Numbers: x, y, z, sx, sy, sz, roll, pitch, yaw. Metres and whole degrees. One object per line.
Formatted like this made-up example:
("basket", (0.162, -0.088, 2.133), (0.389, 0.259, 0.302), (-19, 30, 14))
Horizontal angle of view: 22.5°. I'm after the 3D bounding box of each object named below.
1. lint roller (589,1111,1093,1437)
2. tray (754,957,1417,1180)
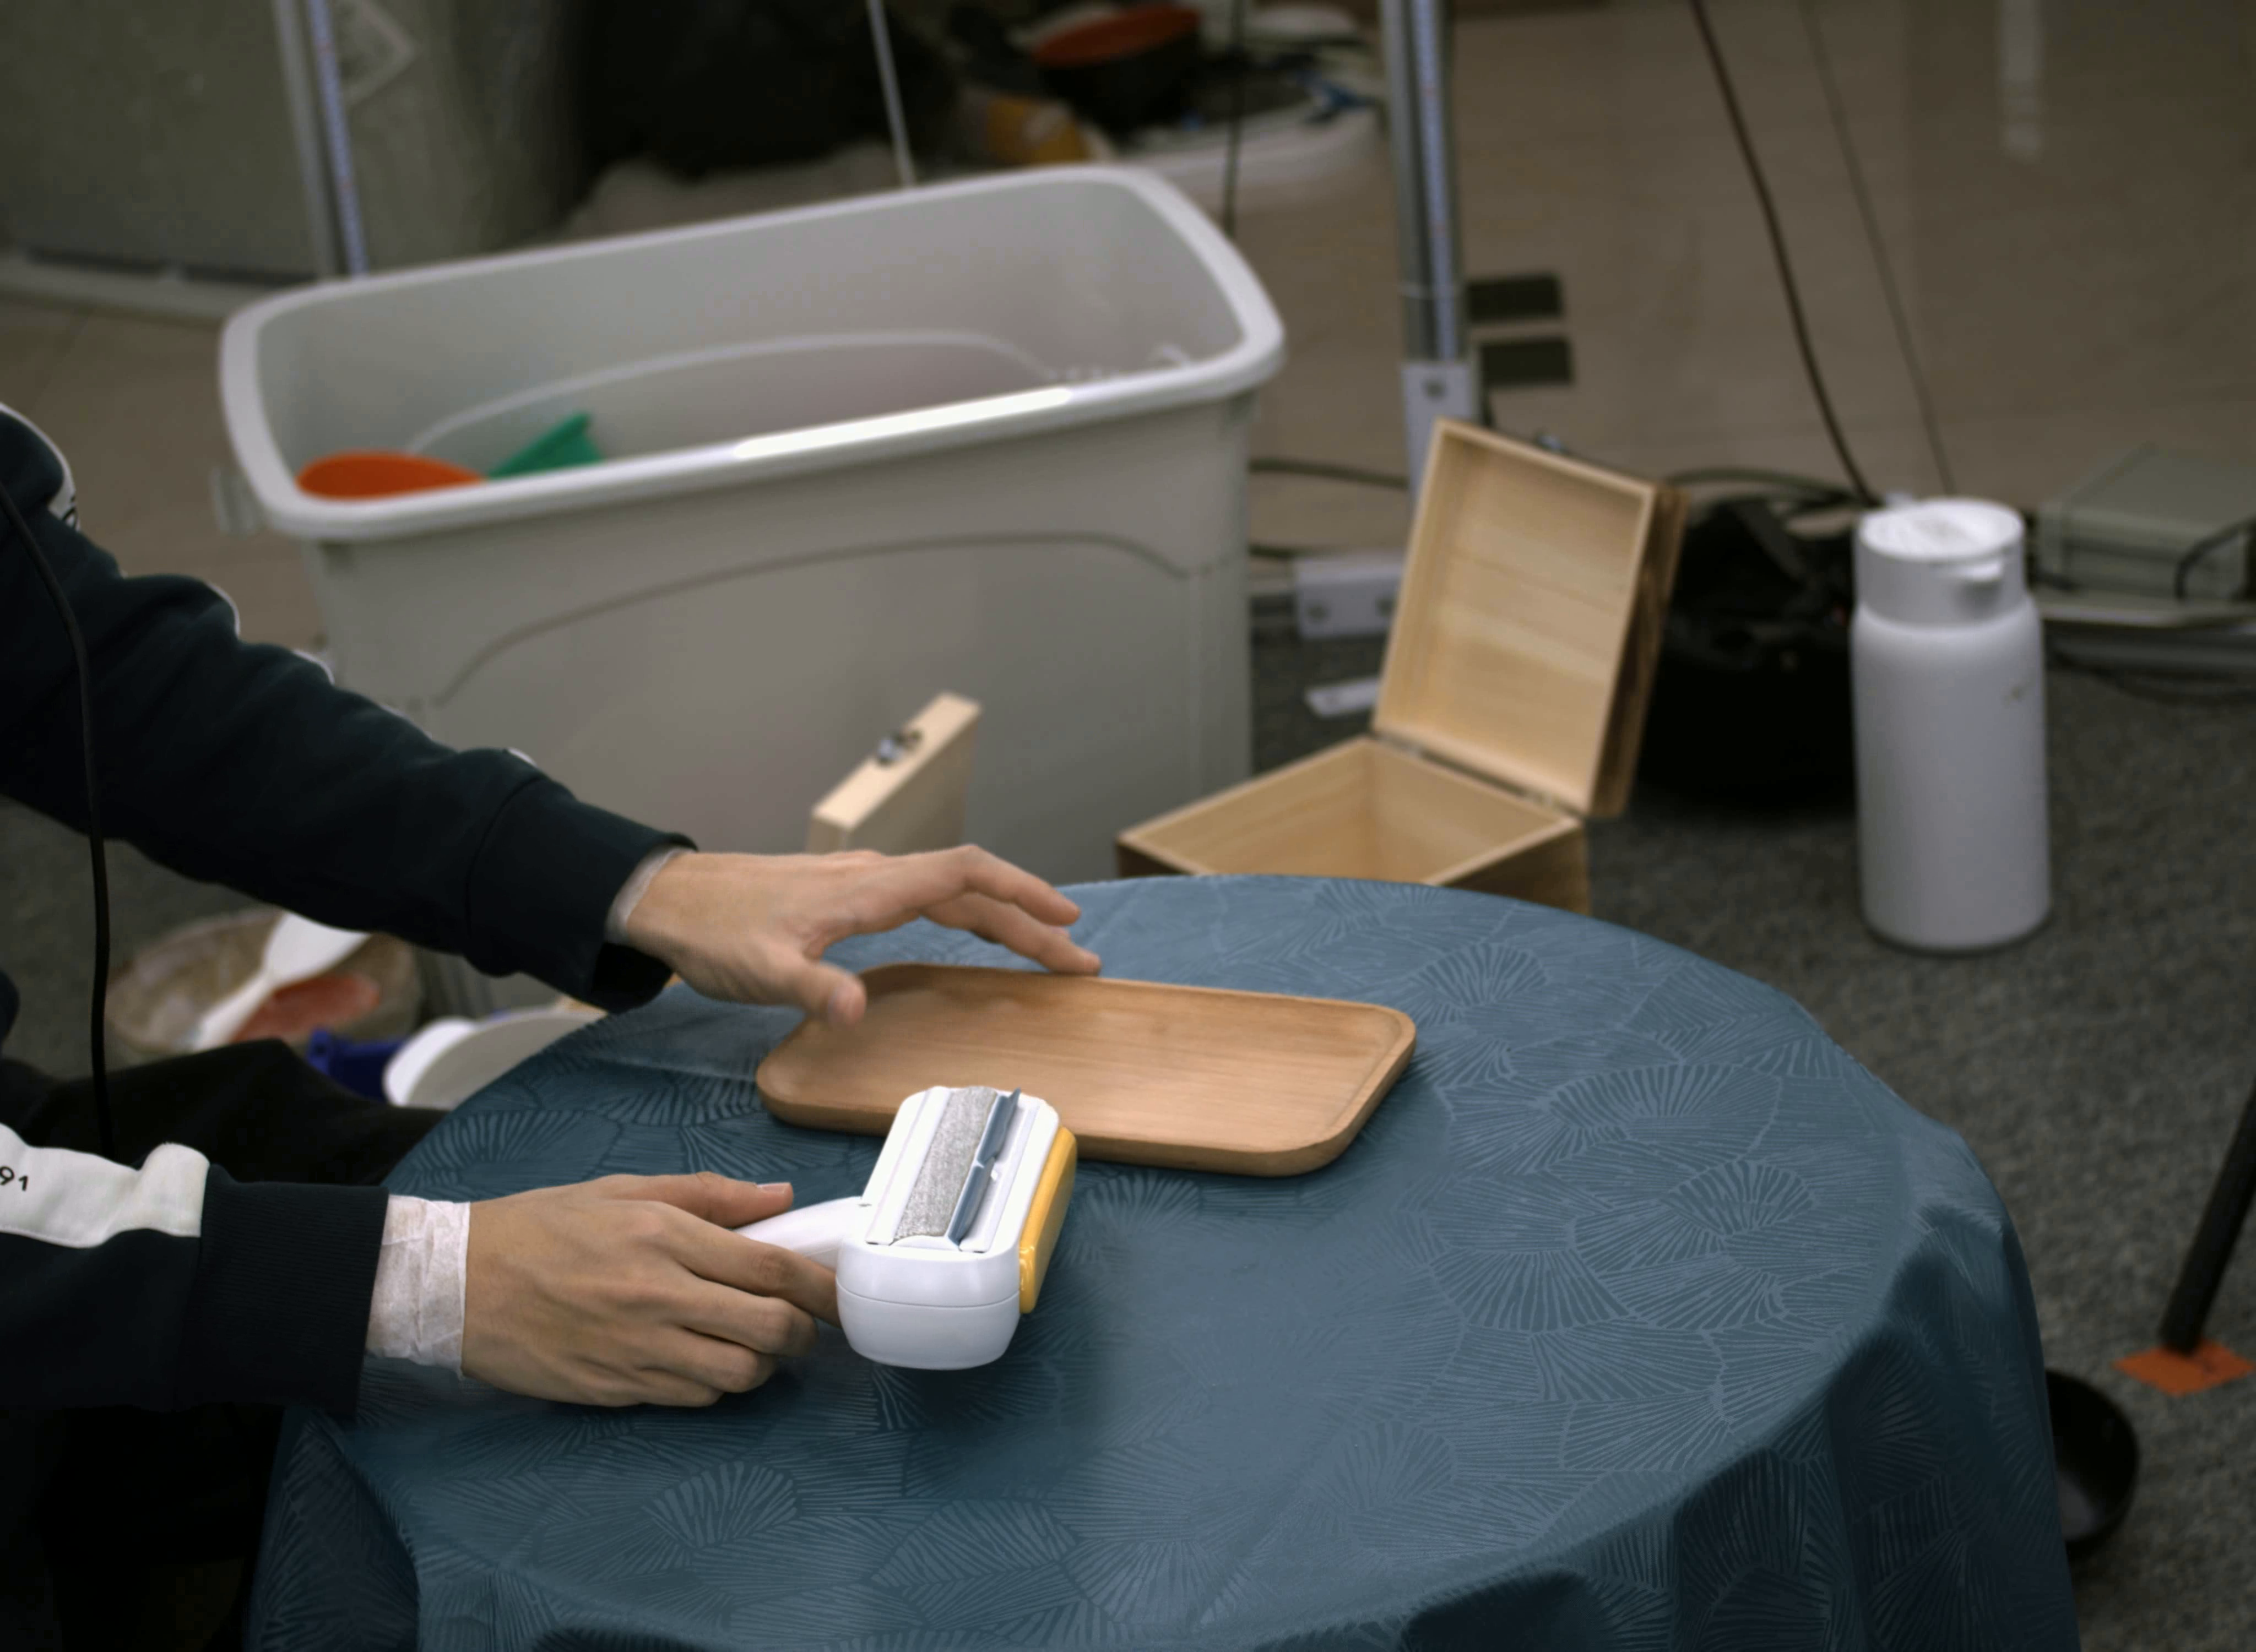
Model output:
("lint roller", (-0.115, 0.172, 2.064), (0.192, 0.075, 0.190), (-15, 16, 16))
("tray", (-0.017, 0.095, 2.225), (0.250, 0.023, 0.129), (5, 25, 24))
